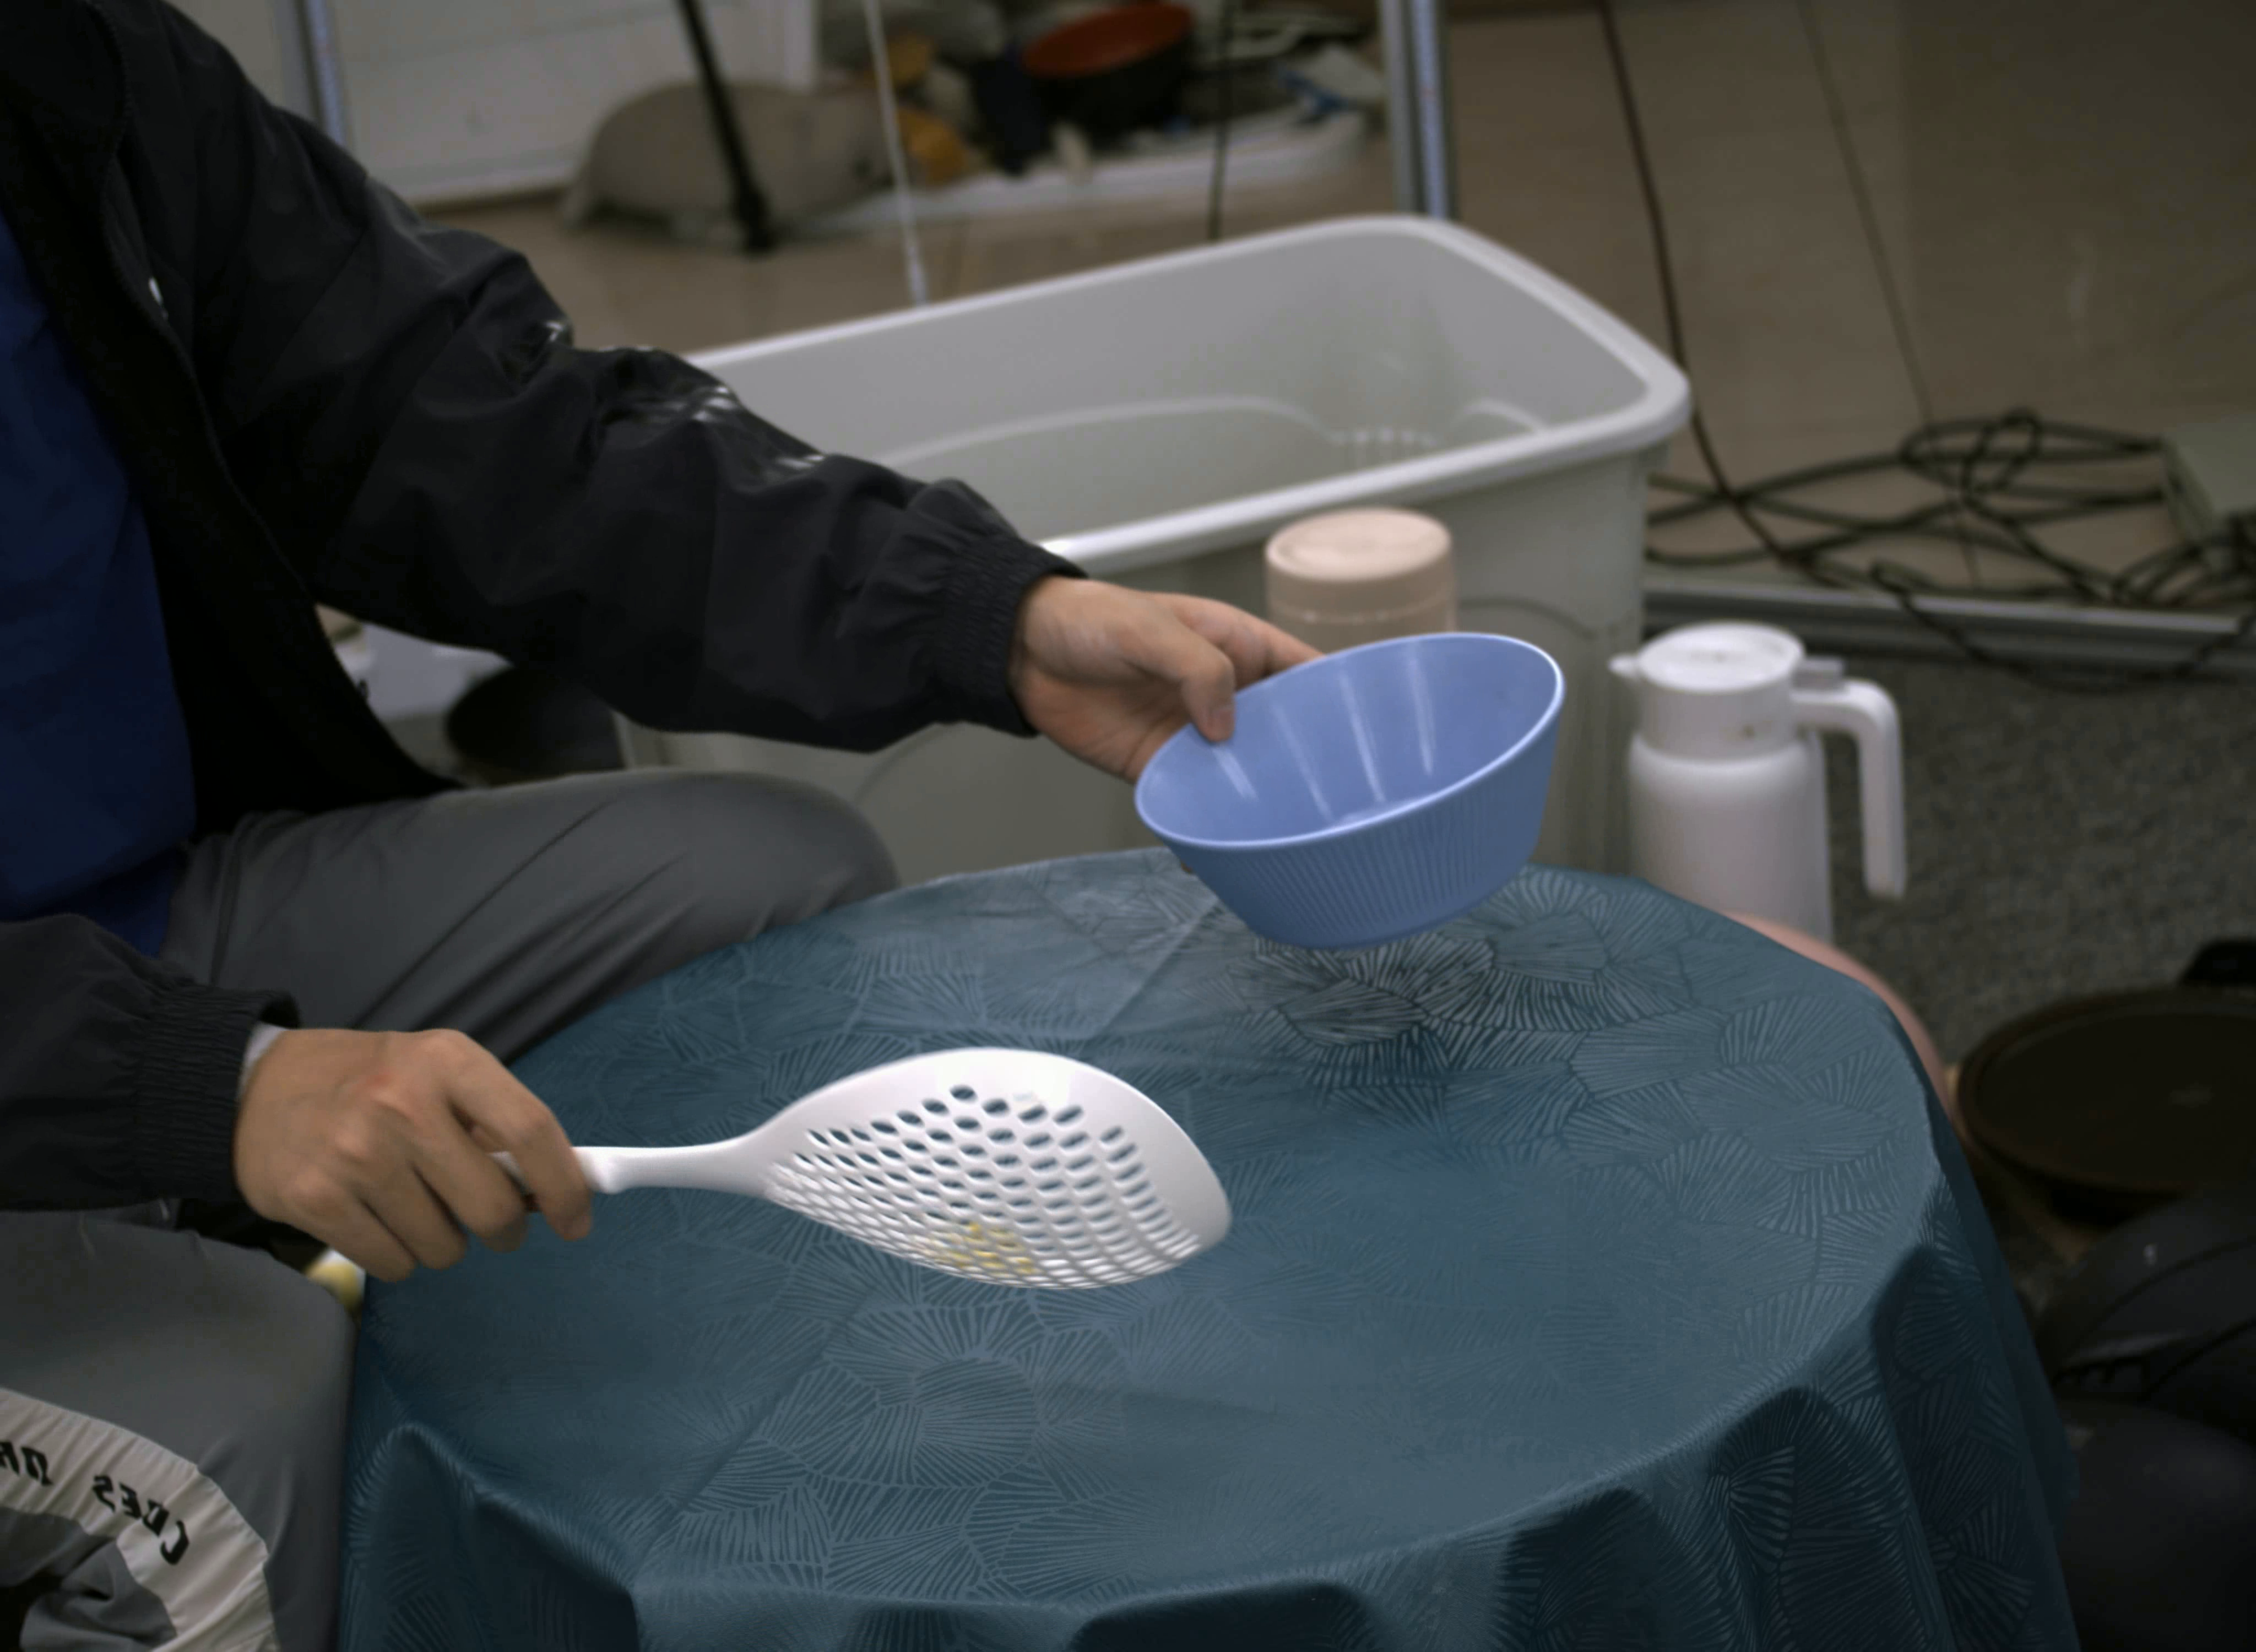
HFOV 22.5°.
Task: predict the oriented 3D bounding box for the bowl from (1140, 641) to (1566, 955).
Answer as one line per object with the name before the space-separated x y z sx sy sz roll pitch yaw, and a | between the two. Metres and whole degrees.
bowl | 0.097 -0.005 2.232 0.176 0.071 0.173 -17 22 7

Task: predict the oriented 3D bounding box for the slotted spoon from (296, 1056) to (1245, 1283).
slotted spoon | -0.129 0.126 1.965 0.347 0.139 0.049 2 61 25
